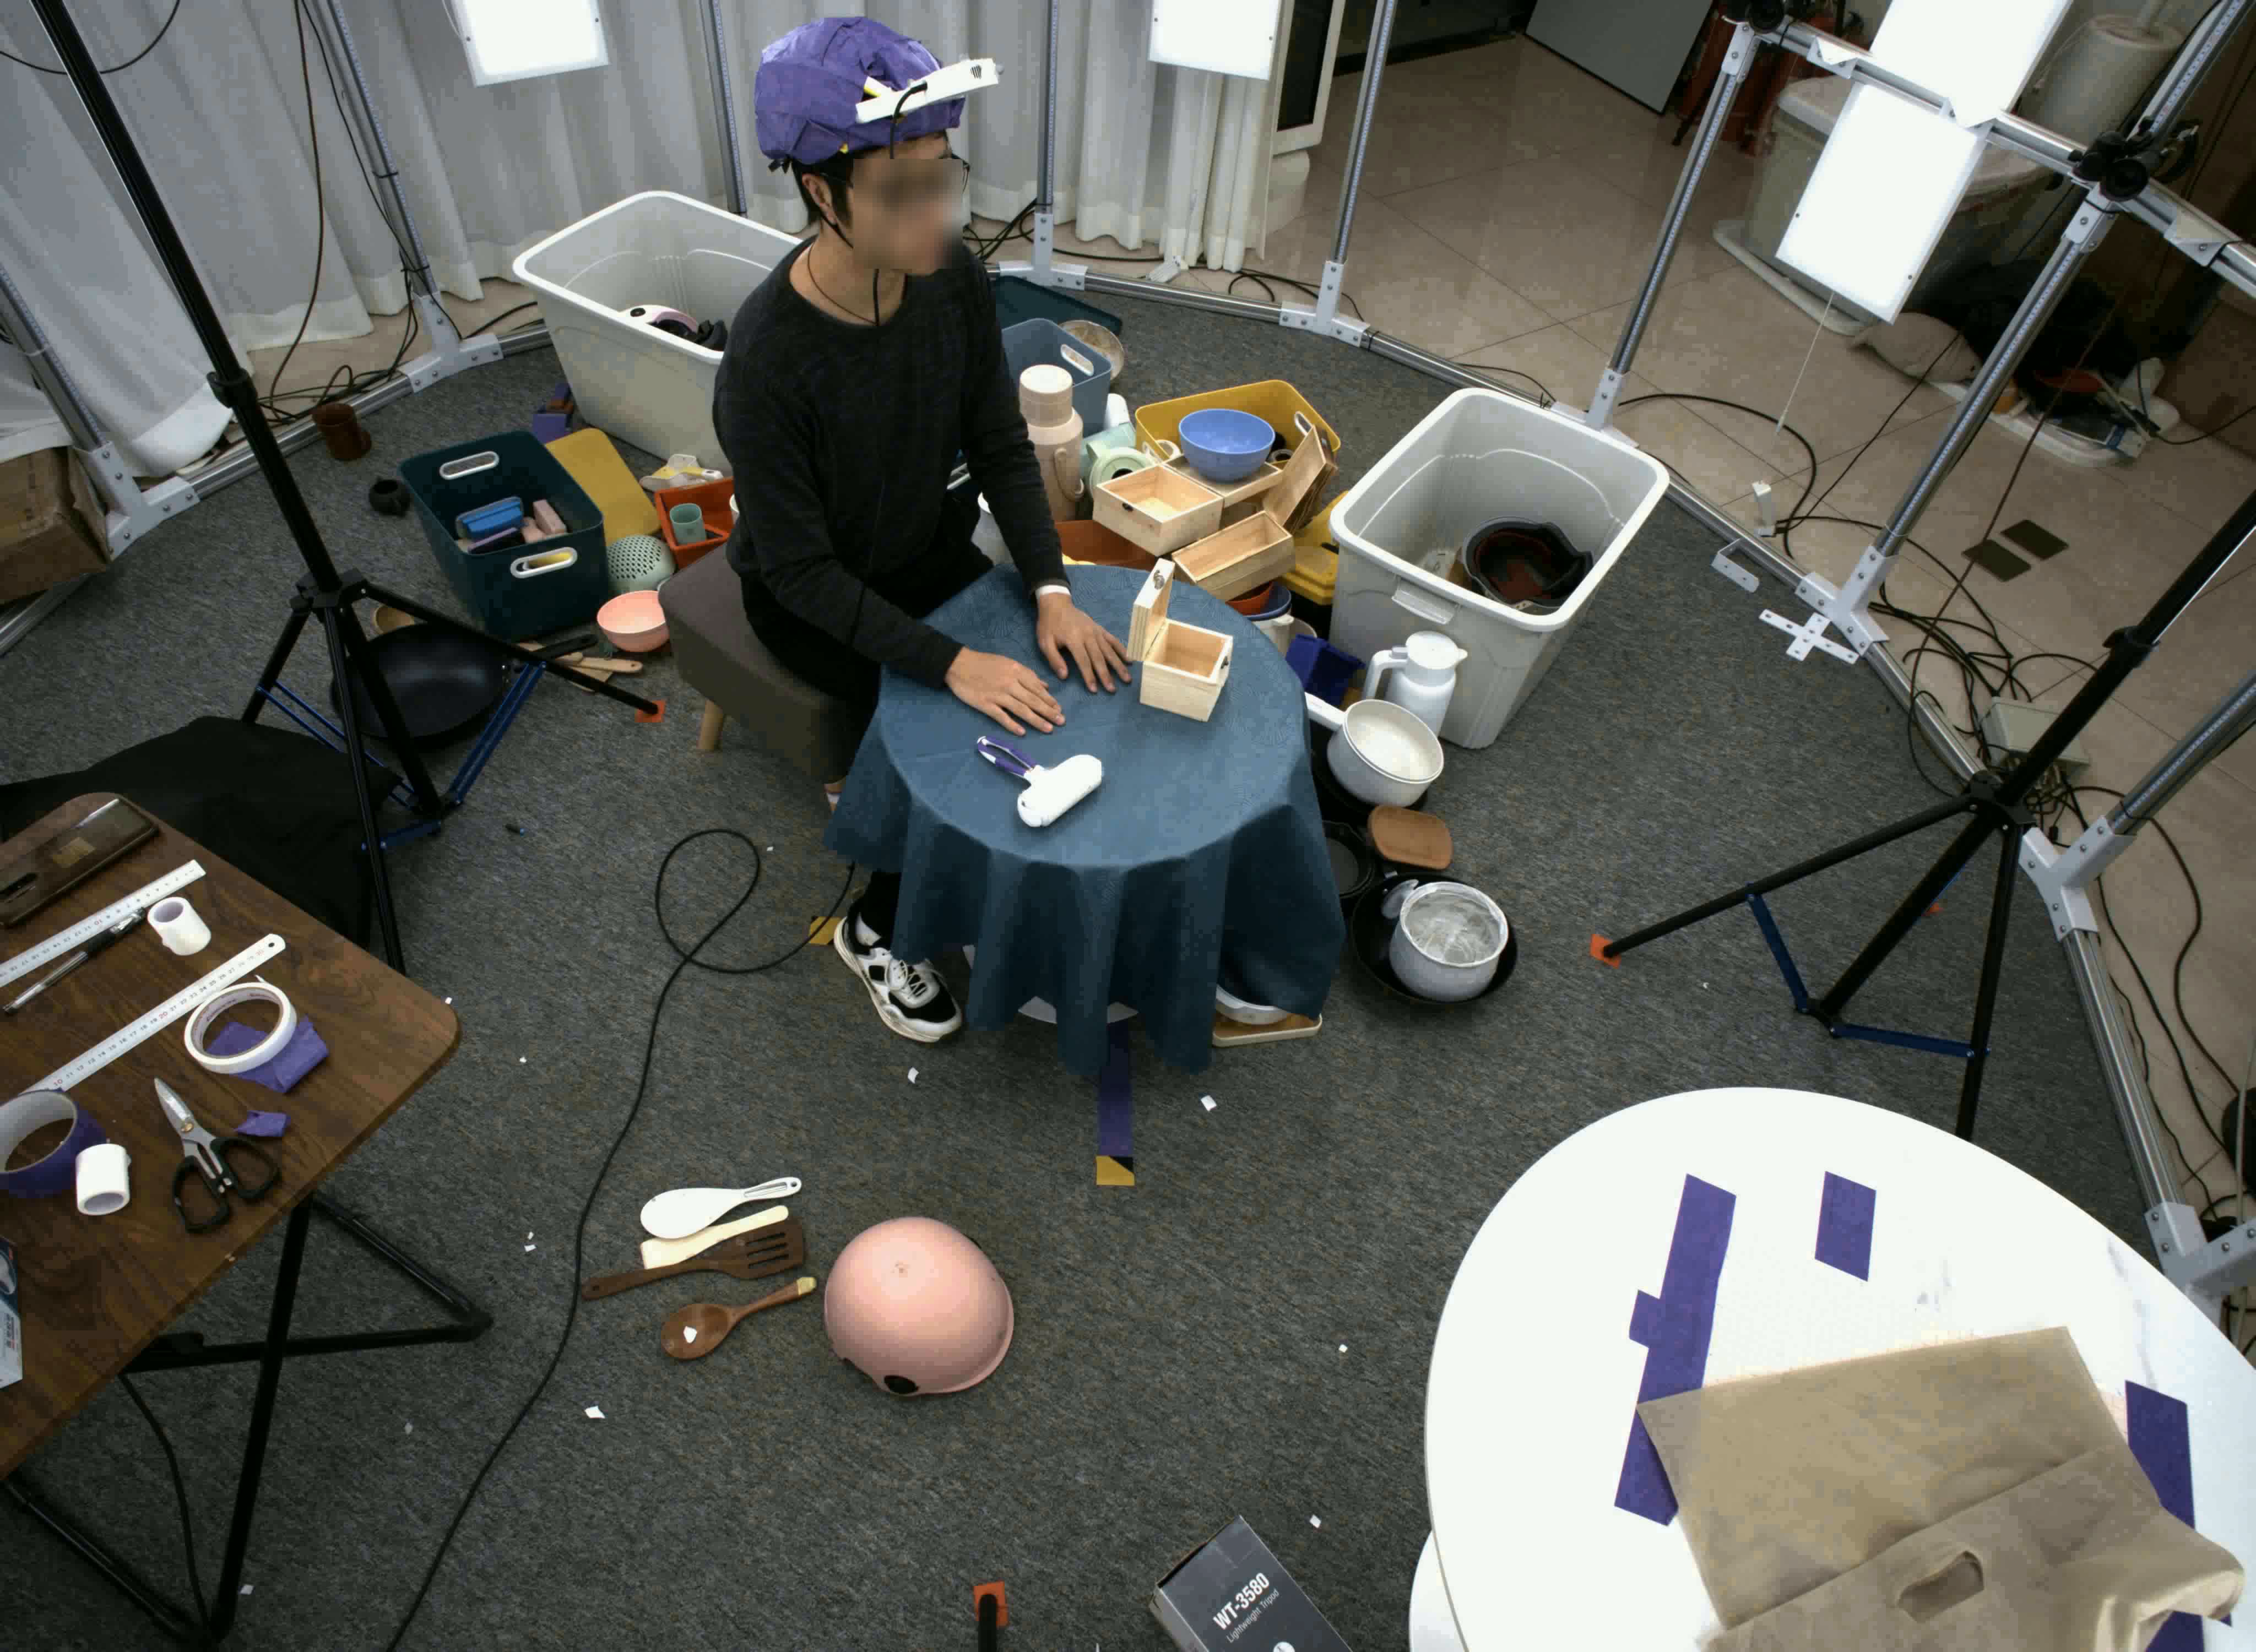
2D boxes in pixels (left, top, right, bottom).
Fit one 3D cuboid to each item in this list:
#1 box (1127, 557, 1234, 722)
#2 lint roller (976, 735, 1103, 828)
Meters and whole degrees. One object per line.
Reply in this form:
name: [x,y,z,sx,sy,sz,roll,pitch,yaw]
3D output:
box: [0.078,-0.257,1.780,0.134,0.180,0.104,17,50,11]
lint roller: [-0.133,-0.082,1.702,0.183,0.049,0.134,39,58,23]
